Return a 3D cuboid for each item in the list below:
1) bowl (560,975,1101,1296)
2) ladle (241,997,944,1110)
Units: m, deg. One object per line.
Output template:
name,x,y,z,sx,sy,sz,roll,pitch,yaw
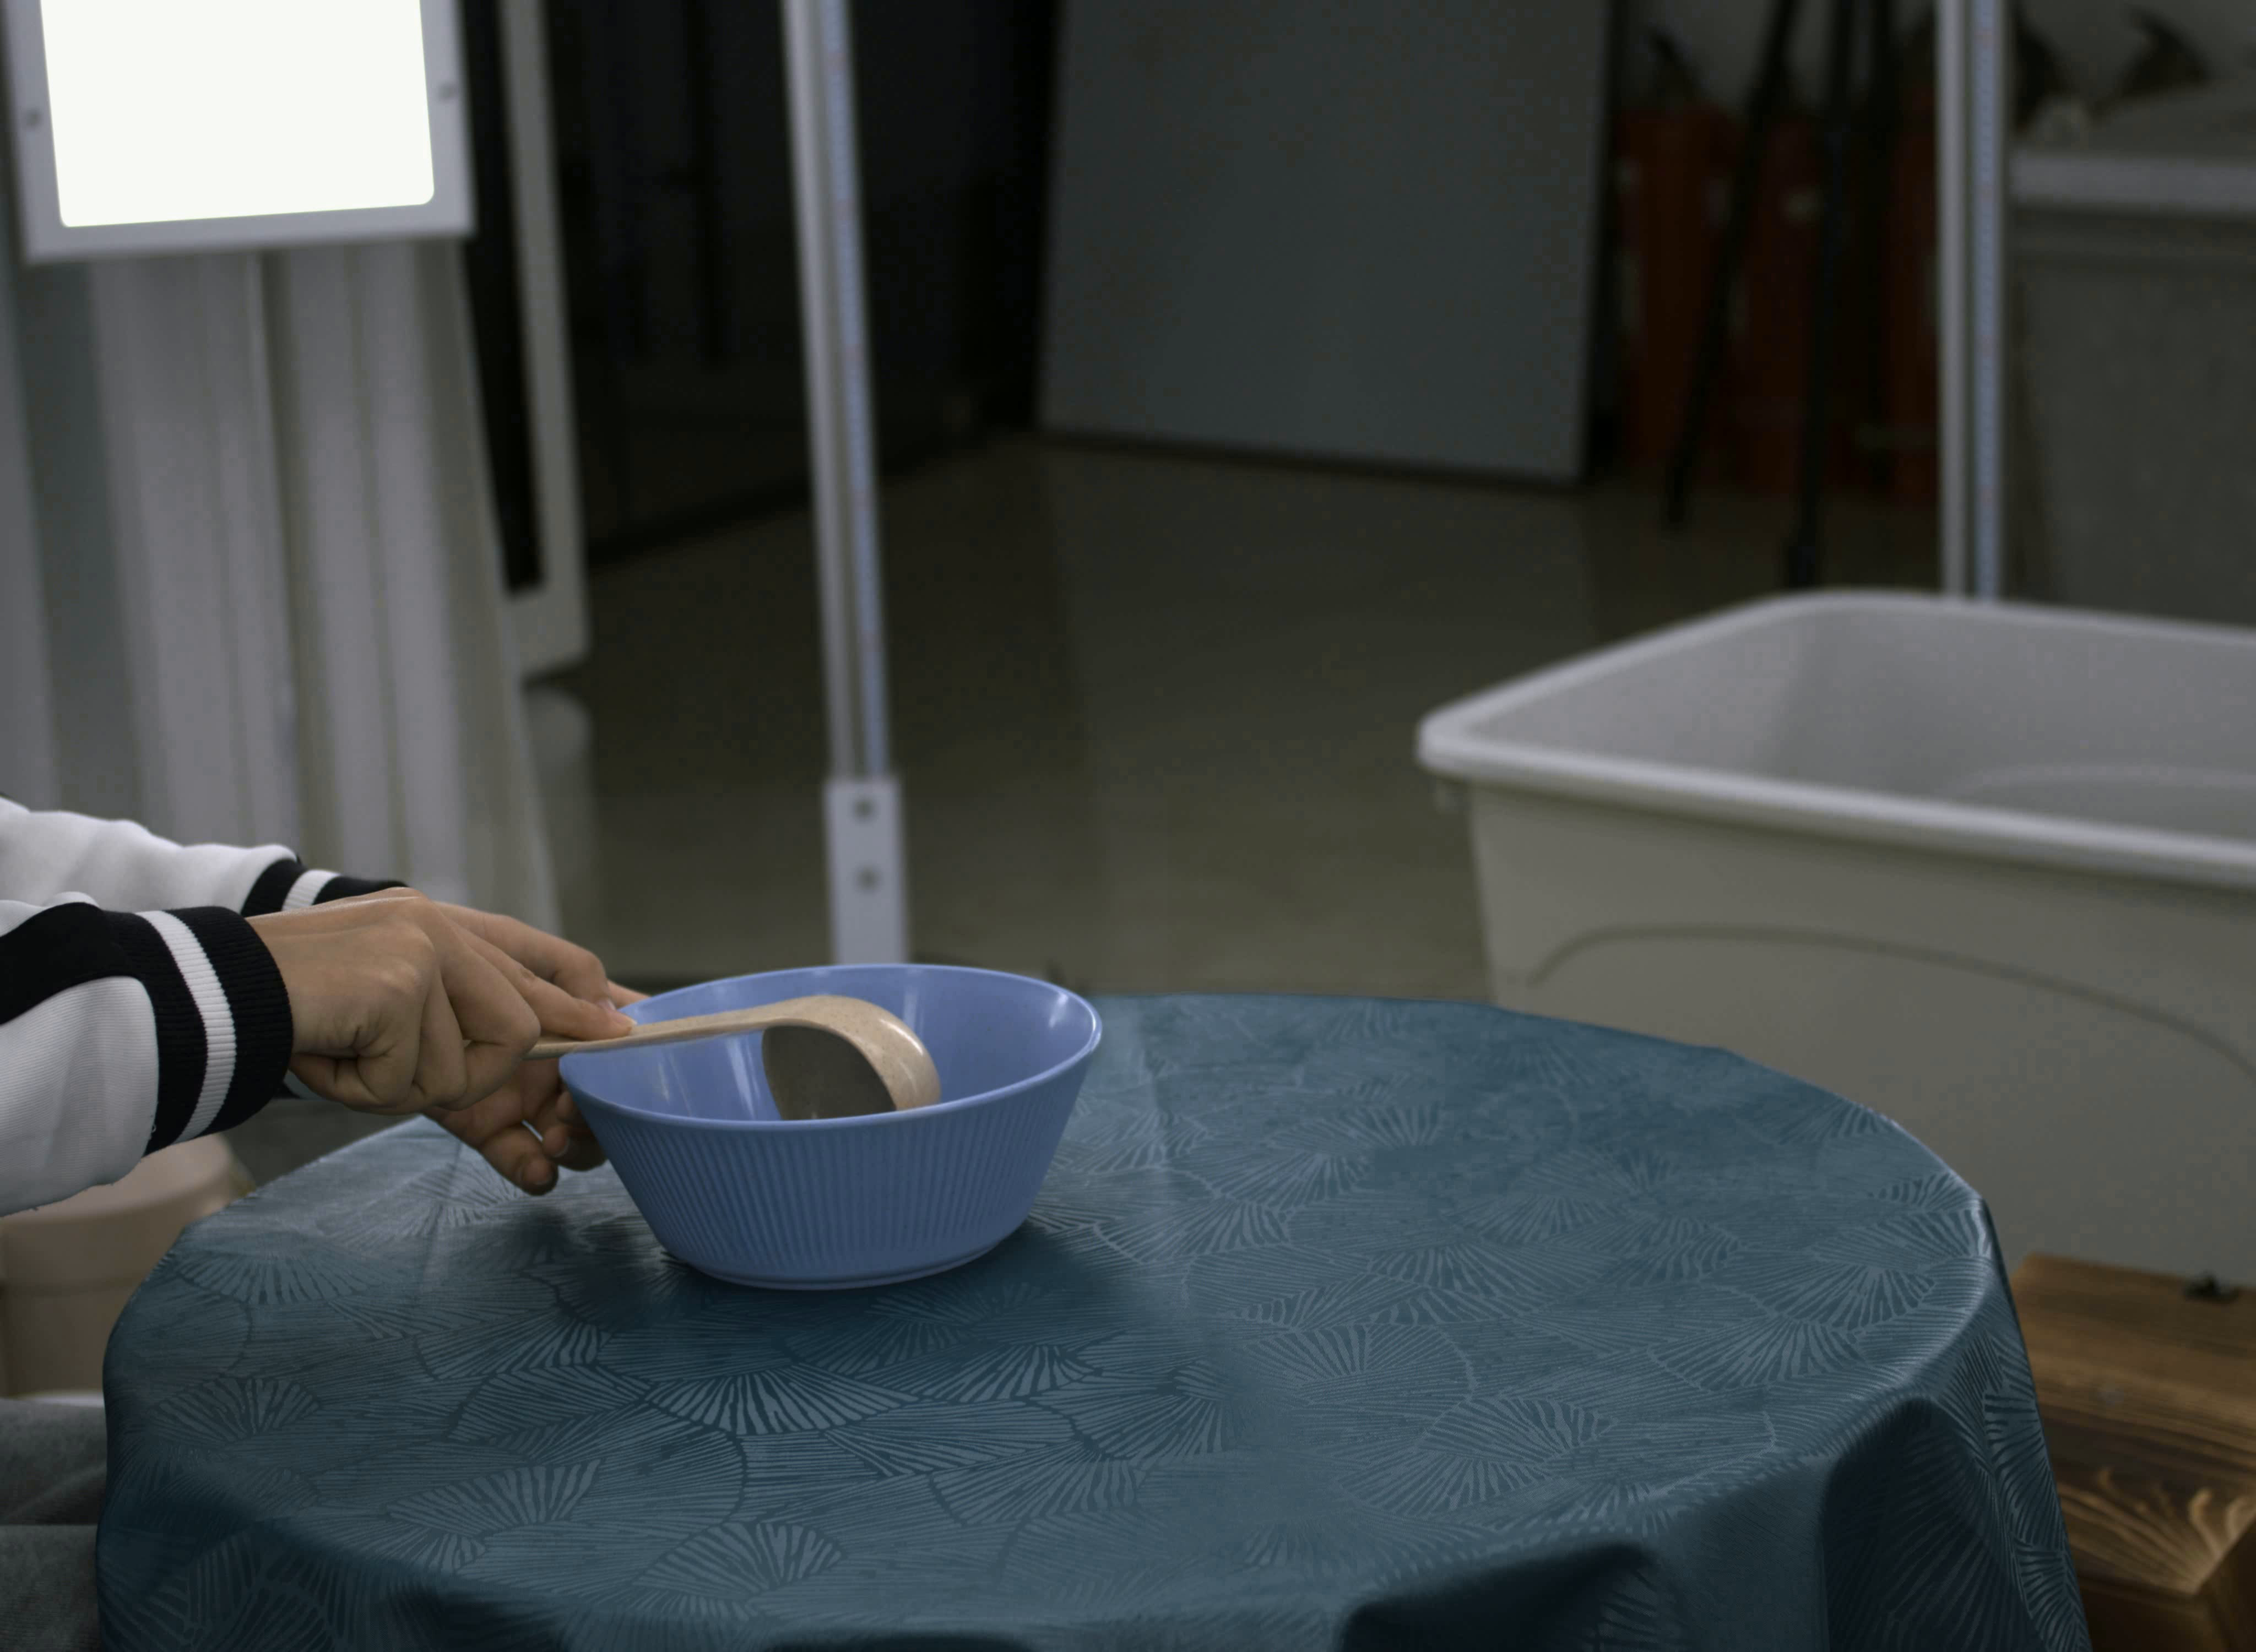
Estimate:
bowl,-0.093,0.102,1.734,0.174,0.071,0.176,-4,13,0
ladle,-0.166,0.092,1.670,0.248,0.074,0.073,0,10,-39
